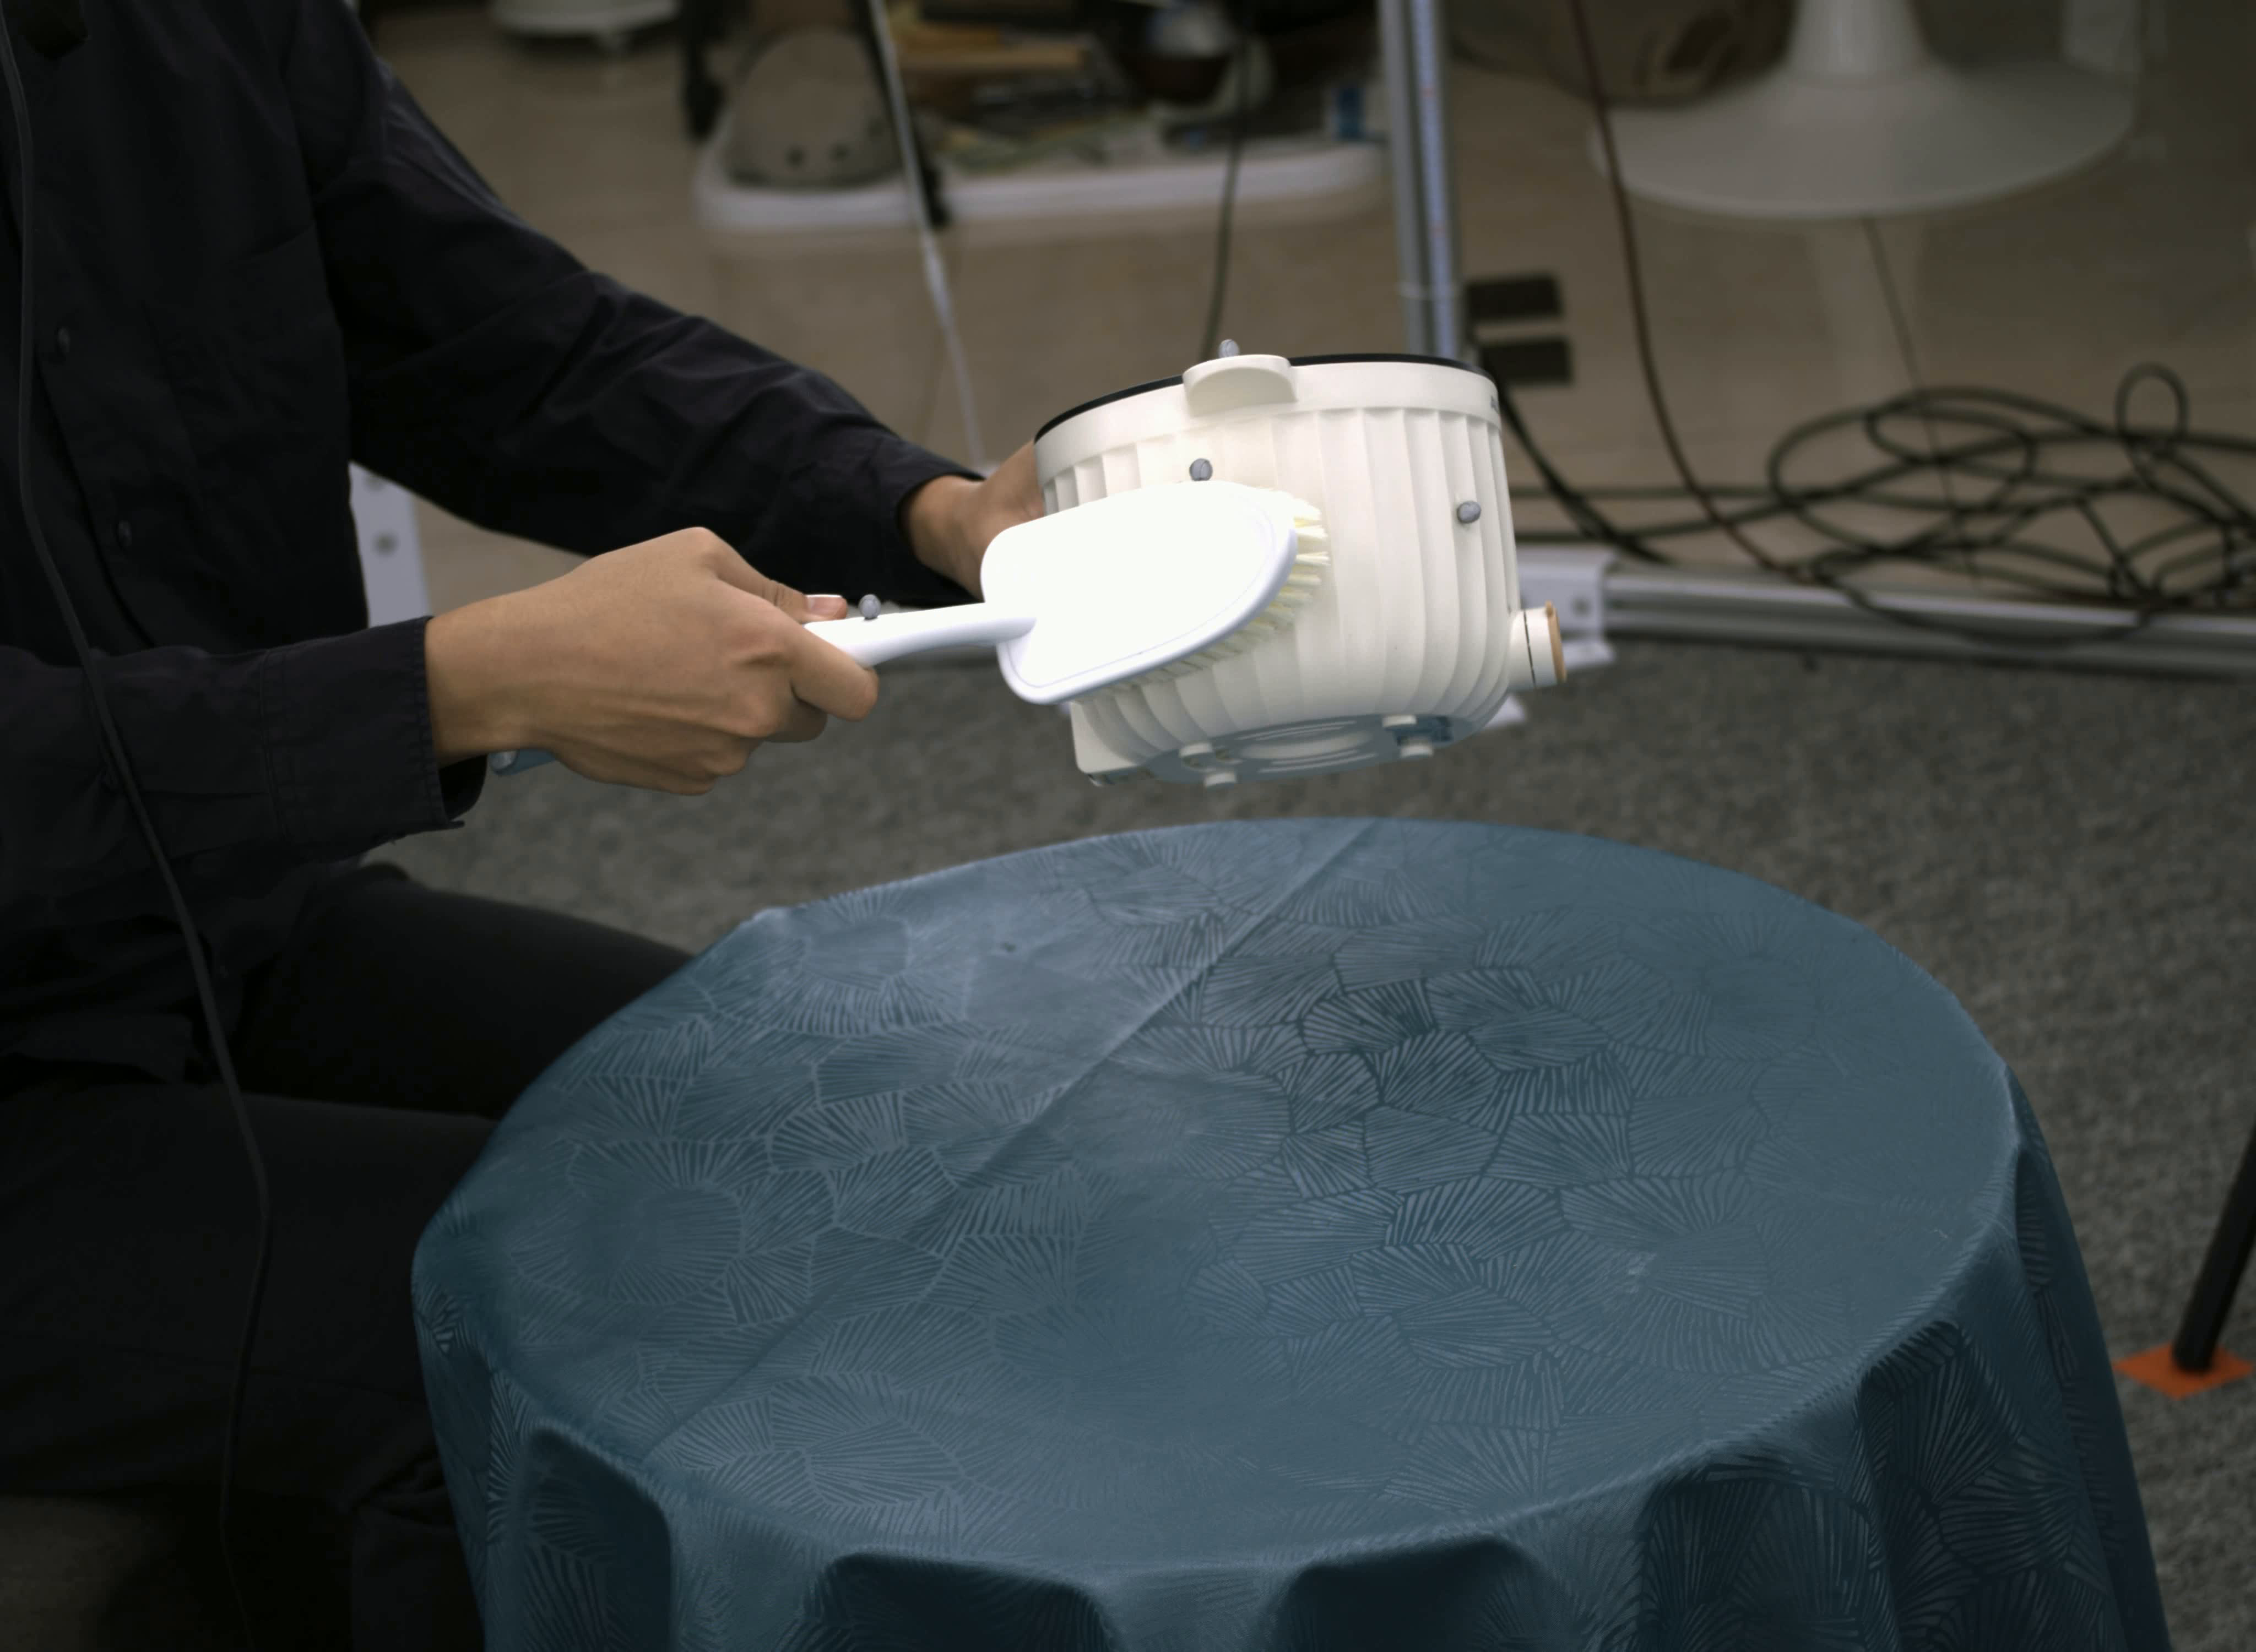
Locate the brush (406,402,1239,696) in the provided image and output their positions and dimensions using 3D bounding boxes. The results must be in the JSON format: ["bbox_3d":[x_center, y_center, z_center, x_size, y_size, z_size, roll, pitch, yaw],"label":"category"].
[{"bbox_3d":[-0.113,-0.101,2.122,0.325,0.086,0.081,-15,47,12],"label":"brush"}]

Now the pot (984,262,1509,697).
[{"bbox_3d":[0.047,-0.132,2.210,0.190,0.142,0.241,-10,-7,5],"label":"pot"}]
